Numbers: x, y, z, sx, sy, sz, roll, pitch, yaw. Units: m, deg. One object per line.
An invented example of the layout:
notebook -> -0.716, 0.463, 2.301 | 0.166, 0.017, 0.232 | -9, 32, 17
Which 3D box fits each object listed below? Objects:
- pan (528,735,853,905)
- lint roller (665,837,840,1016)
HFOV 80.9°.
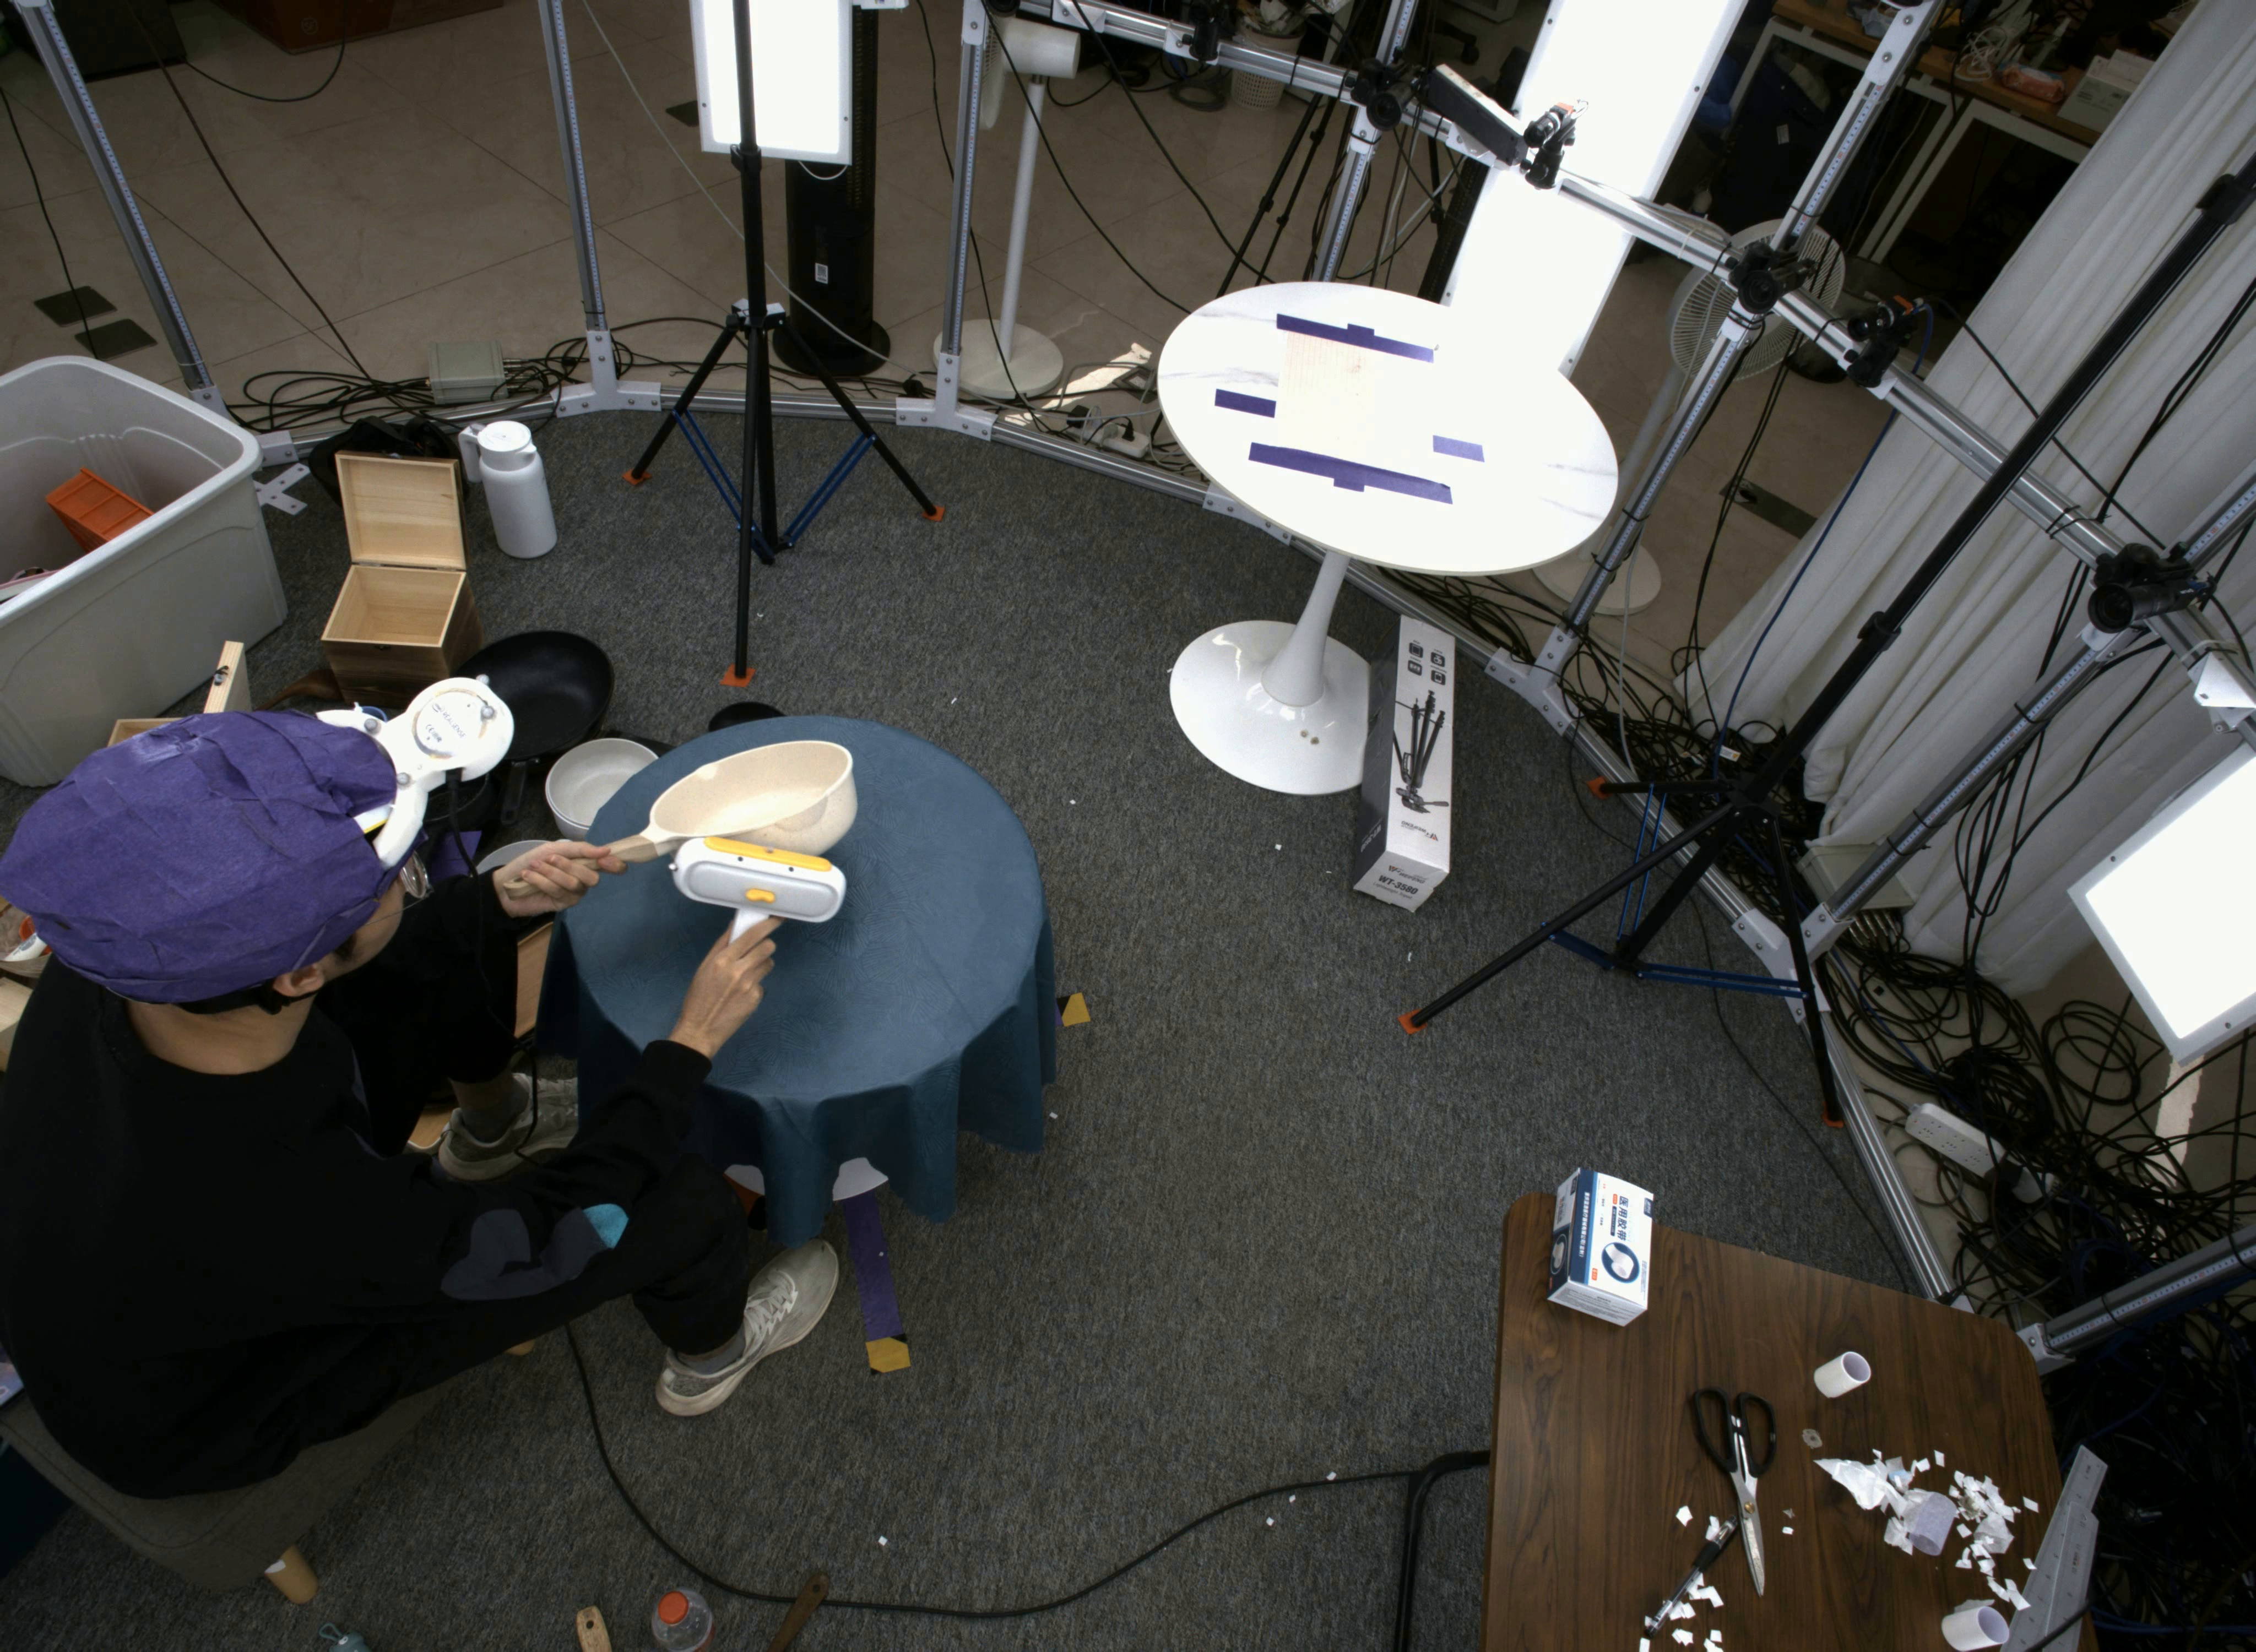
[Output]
pan -> -0.521, 0.014, 1.535 | 0.253, 0.105, 0.436 | 19, 40, 41
lint roller -> -0.434, 0.116, 1.470 | 0.196, 0.196, 0.071 | 7, 18, -29
